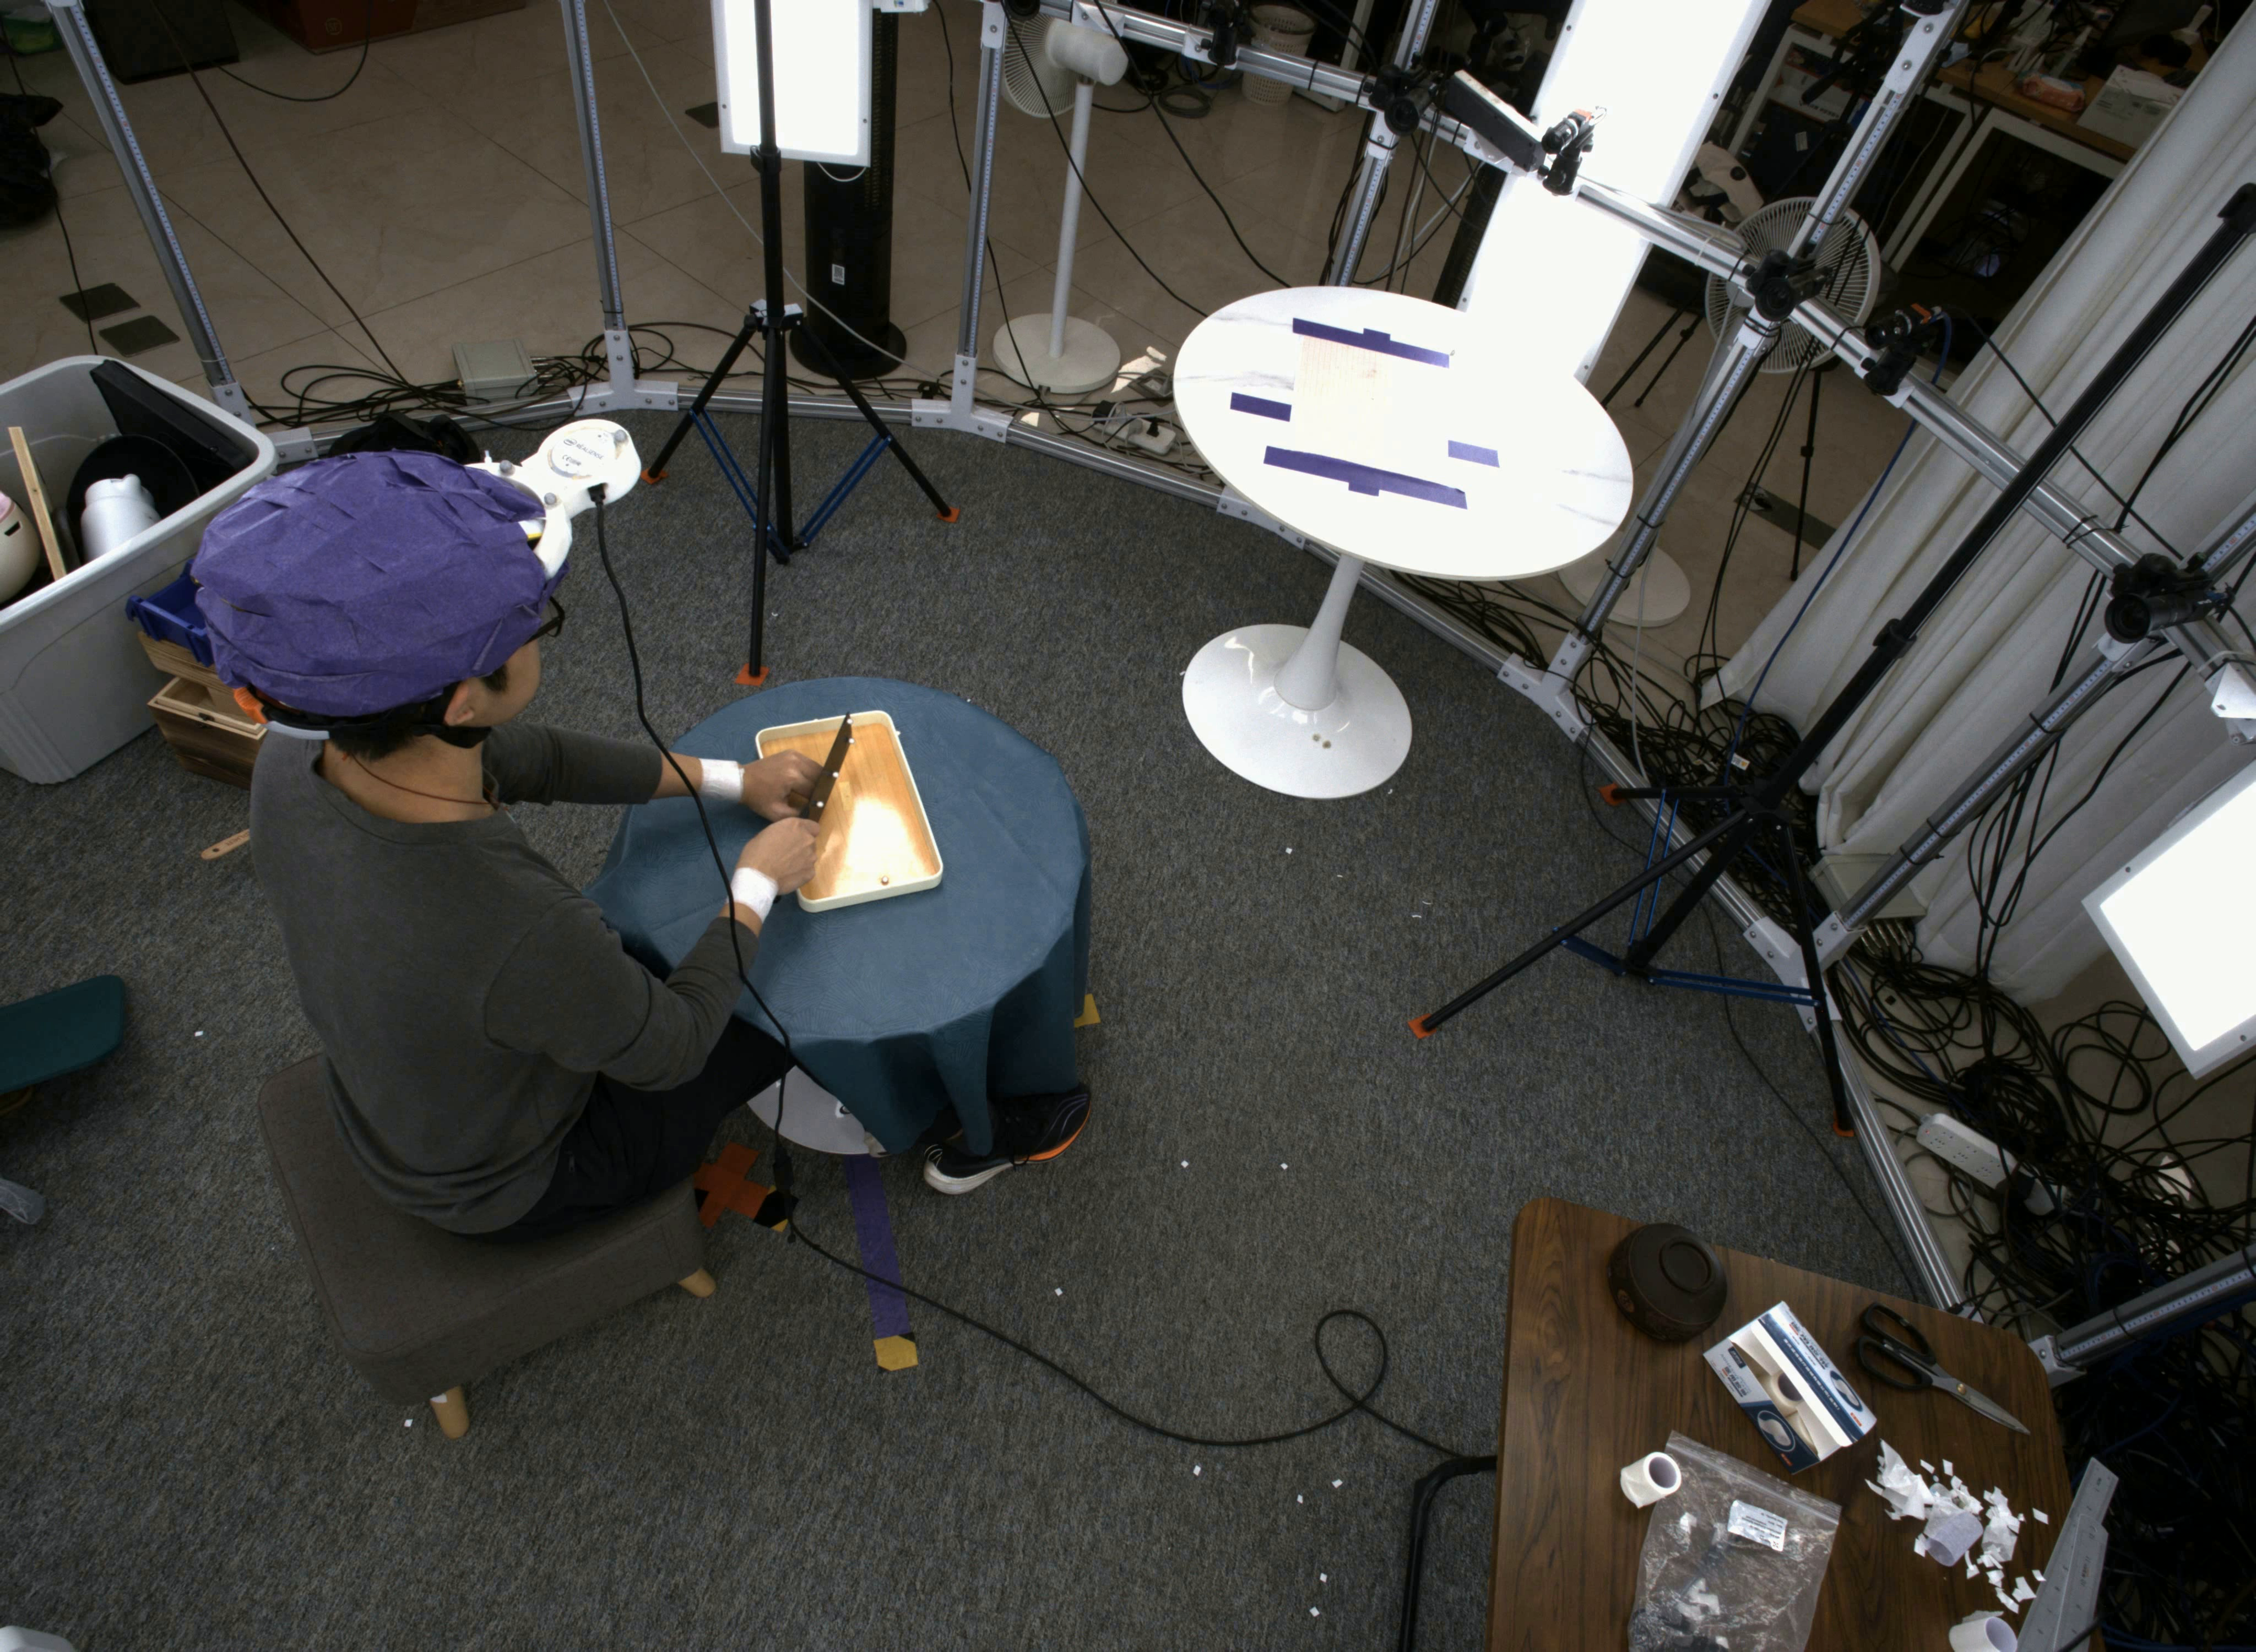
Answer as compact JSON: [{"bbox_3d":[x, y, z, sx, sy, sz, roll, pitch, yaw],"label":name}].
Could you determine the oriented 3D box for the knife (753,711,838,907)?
[{"bbox_3d":[-0.424,-0.022,1.674,0.020,0.083,0.298,11,50,3],"label":"knife"}]

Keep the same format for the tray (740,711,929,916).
[{"bbox_3d":[-0.397,-0.025,1.743,0.192,0.028,0.293,-12,58,-22],"label":"tray"}]
